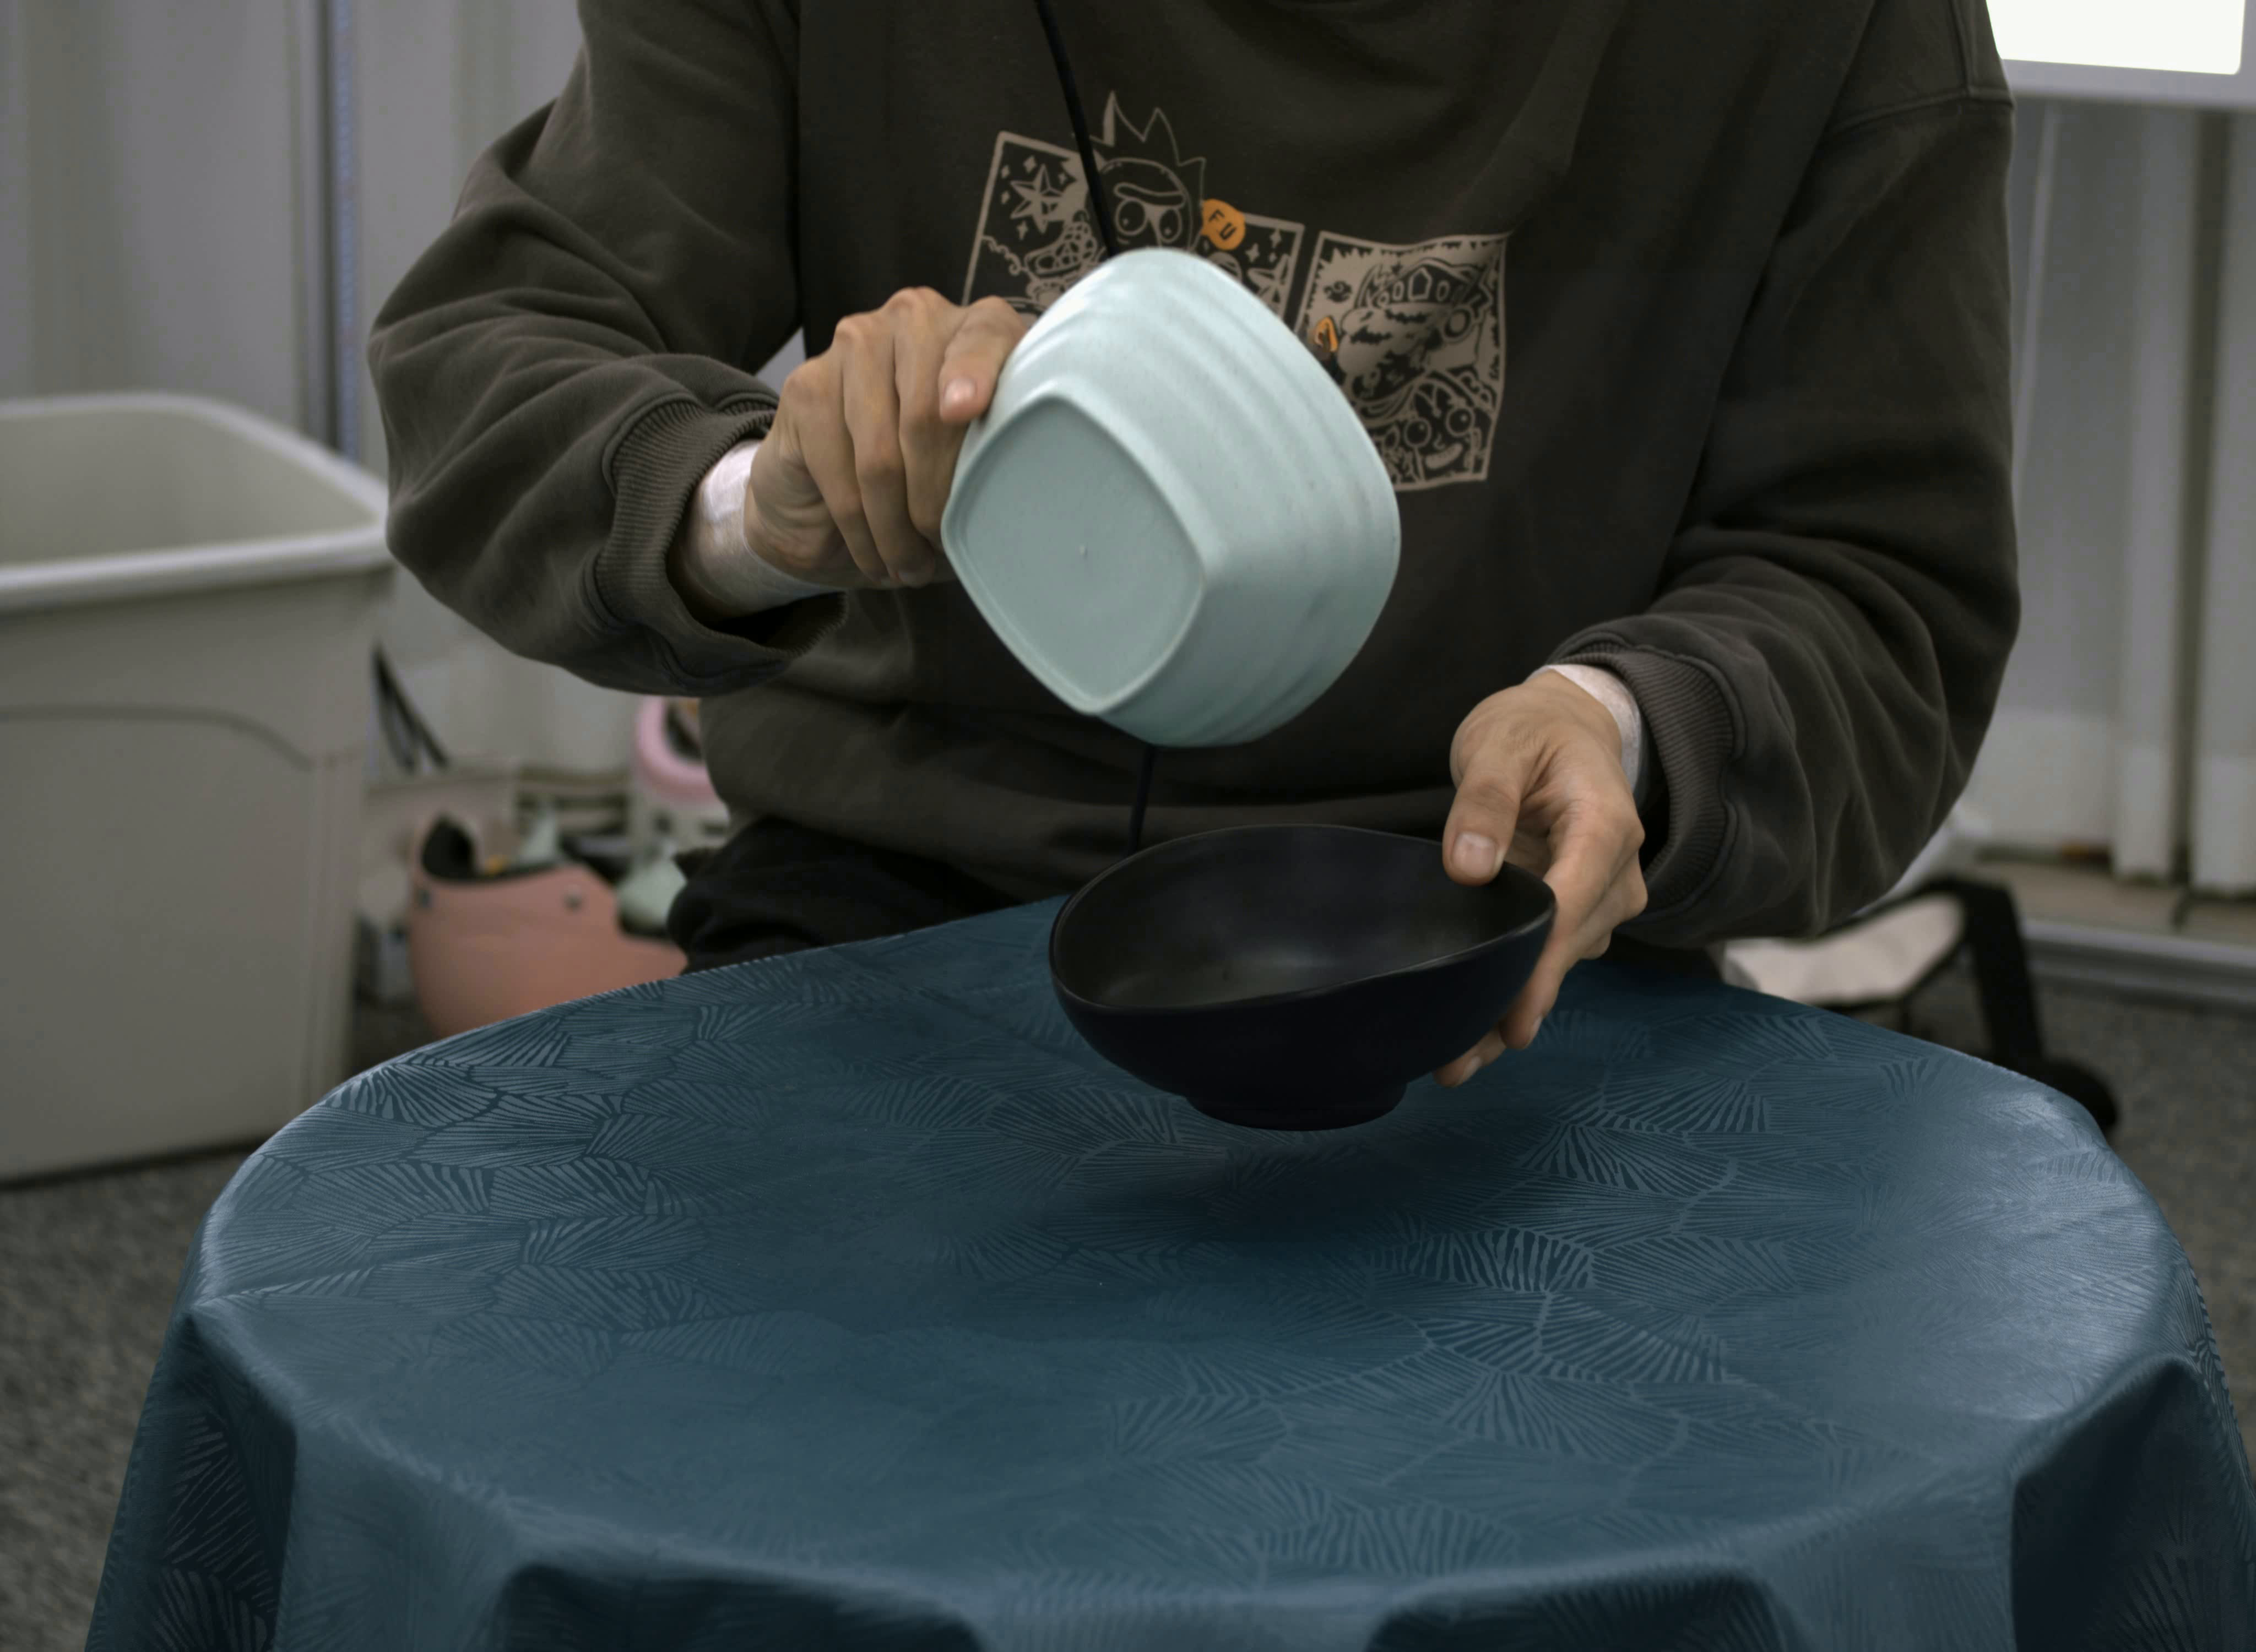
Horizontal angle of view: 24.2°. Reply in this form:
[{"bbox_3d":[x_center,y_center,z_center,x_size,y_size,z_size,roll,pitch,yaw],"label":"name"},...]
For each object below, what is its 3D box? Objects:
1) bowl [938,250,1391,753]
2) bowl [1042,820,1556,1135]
[{"bbox_3d":[0.000,-0.086,1.516,0.149,0.153,0.059,13,28,37],"label":"bowl"},{"bbox_3d":[0.053,0.053,1.612,0.171,0.067,0.135,-17,25,-39],"label":"bowl"}]
